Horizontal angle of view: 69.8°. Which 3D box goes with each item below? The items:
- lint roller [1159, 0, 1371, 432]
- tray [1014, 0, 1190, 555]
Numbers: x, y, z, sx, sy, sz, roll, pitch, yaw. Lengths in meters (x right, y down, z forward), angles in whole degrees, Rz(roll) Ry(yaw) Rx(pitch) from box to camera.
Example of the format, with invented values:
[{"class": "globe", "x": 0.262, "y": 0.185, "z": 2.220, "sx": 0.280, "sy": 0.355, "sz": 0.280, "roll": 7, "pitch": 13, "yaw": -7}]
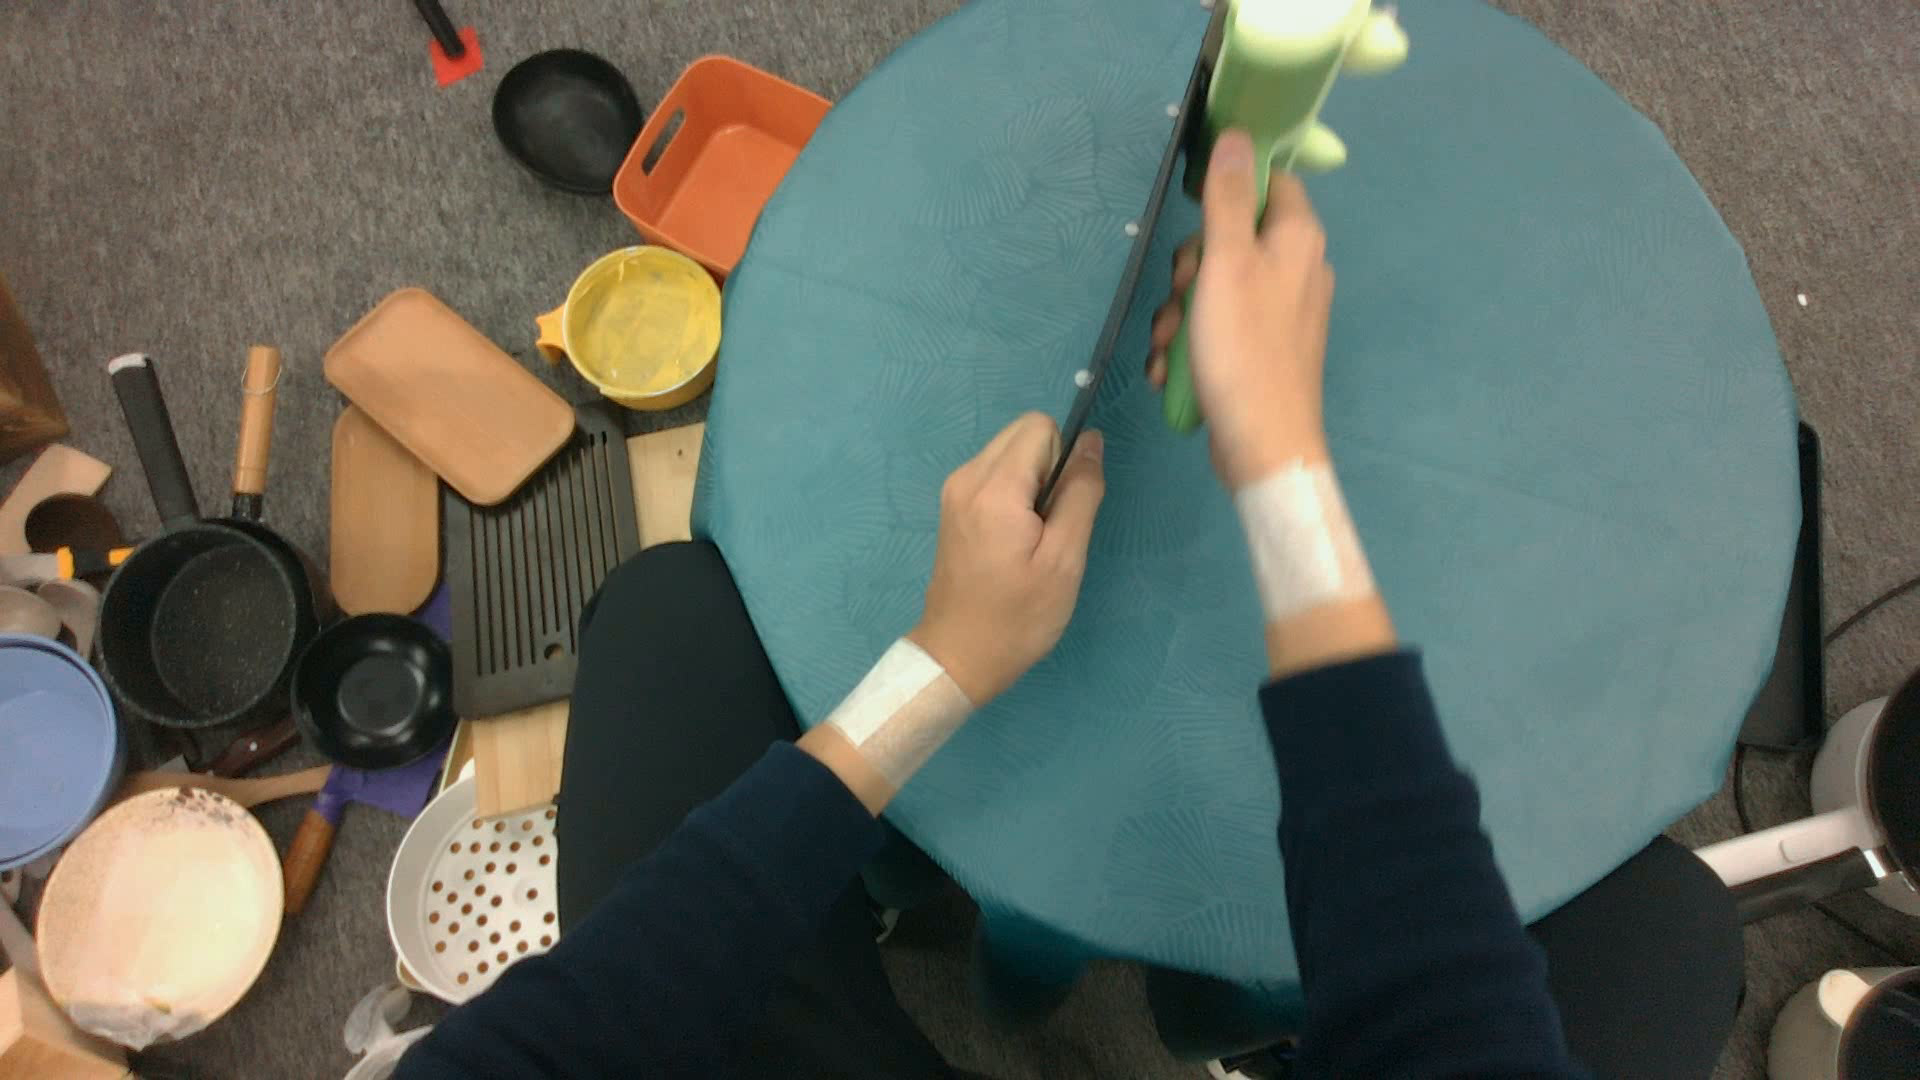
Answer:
[{"class": "lint roller", "x": 0.126, "y": -0.139, "z": 0.596, "sx": 0.082, "sy": 0.198, "sz": 0.183, "roll": -2, "pitch": 89, "yaw": 5}, {"class": "tray", "x": 0.074, "y": -0.149, "z": 0.671, "sx": 0.010, "sy": 0.210, "sz": 0.326, "roll": 17, "pitch": 75, "yaw": 2}]
